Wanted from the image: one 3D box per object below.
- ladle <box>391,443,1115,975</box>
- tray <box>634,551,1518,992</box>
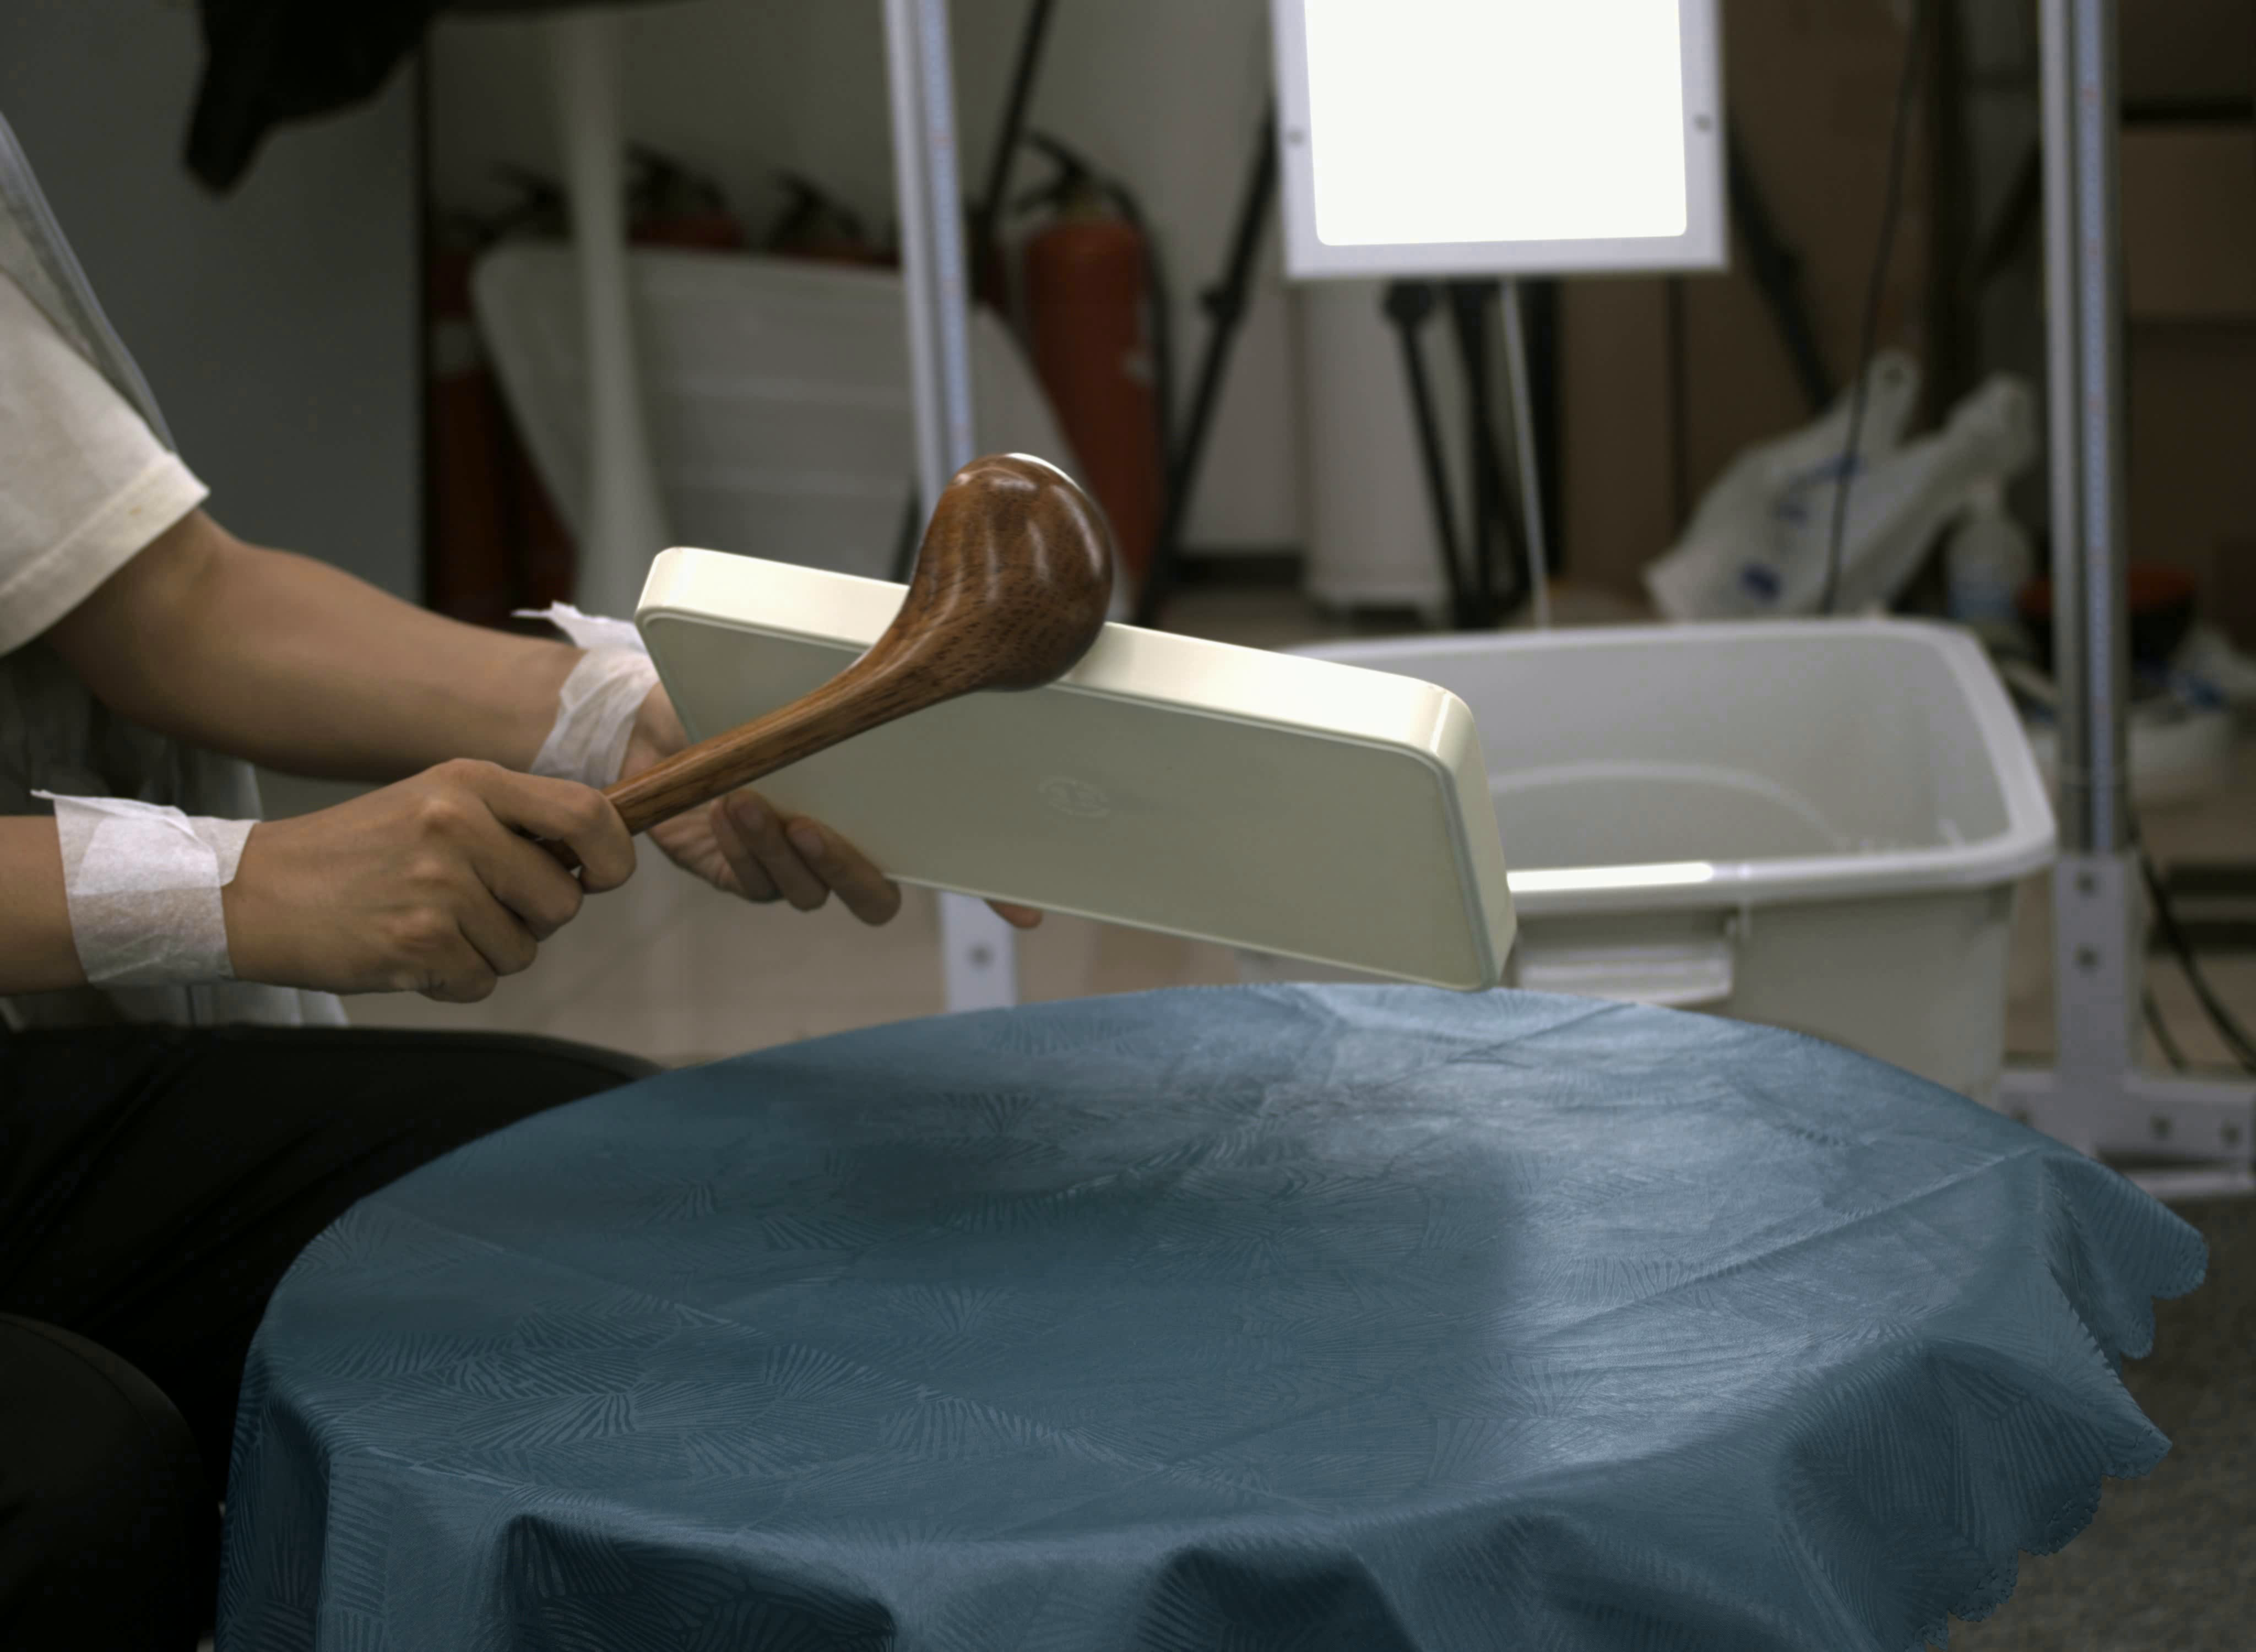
[{"bbox_3d":[-0.129,-0.038,1.855,0.276,0.081,0.076,-28,23,12],"label":"ladle"},{"bbox_3d":[-0.016,-0.017,1.949,0.303,0.027,0.191,11,-26,18],"label":"tray"}]
